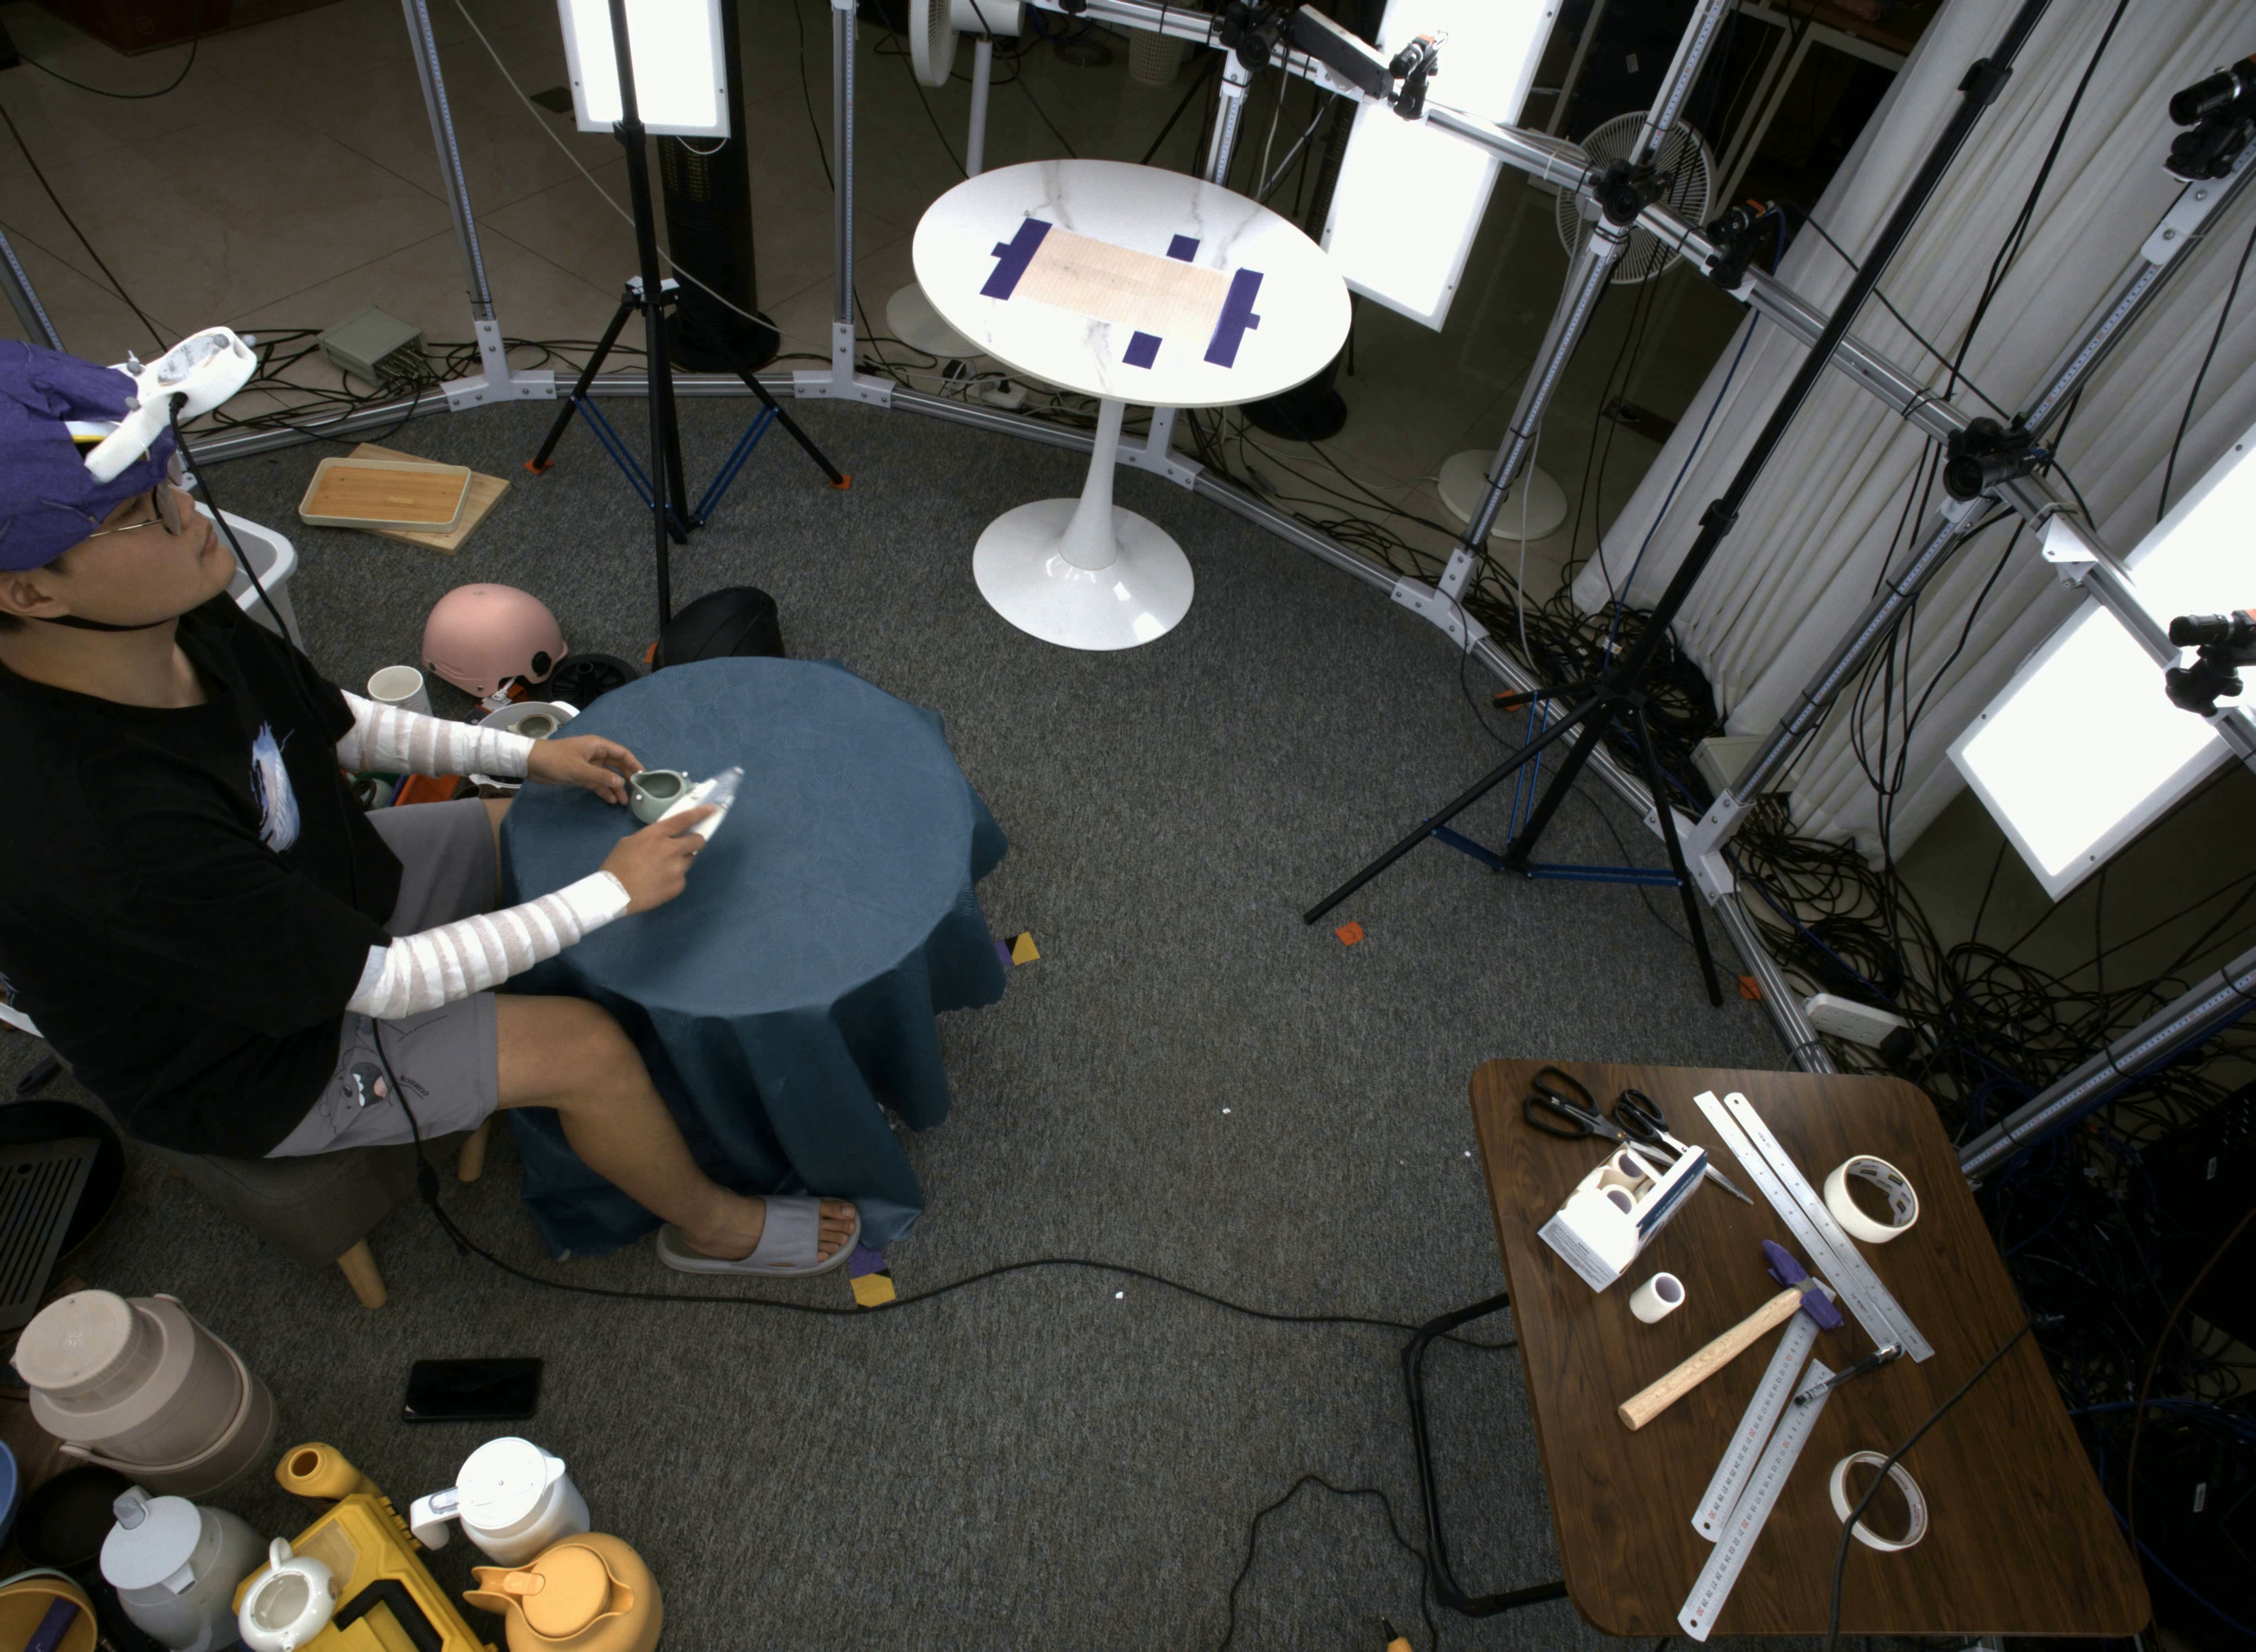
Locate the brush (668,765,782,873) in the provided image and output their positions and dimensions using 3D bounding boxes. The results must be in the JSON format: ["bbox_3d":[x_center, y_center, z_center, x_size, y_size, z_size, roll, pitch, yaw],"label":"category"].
[{"bbox_3d":[-0.495,-0.018,1.618,0.175,0.092,0.063,-46,108,-18],"label":"brush"}]

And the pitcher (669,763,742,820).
[{"bbox_3d":[-0.551,-0.048,1.702,0.108,0.061,0.084,9,53,-9],"label":"pitcher"}]
